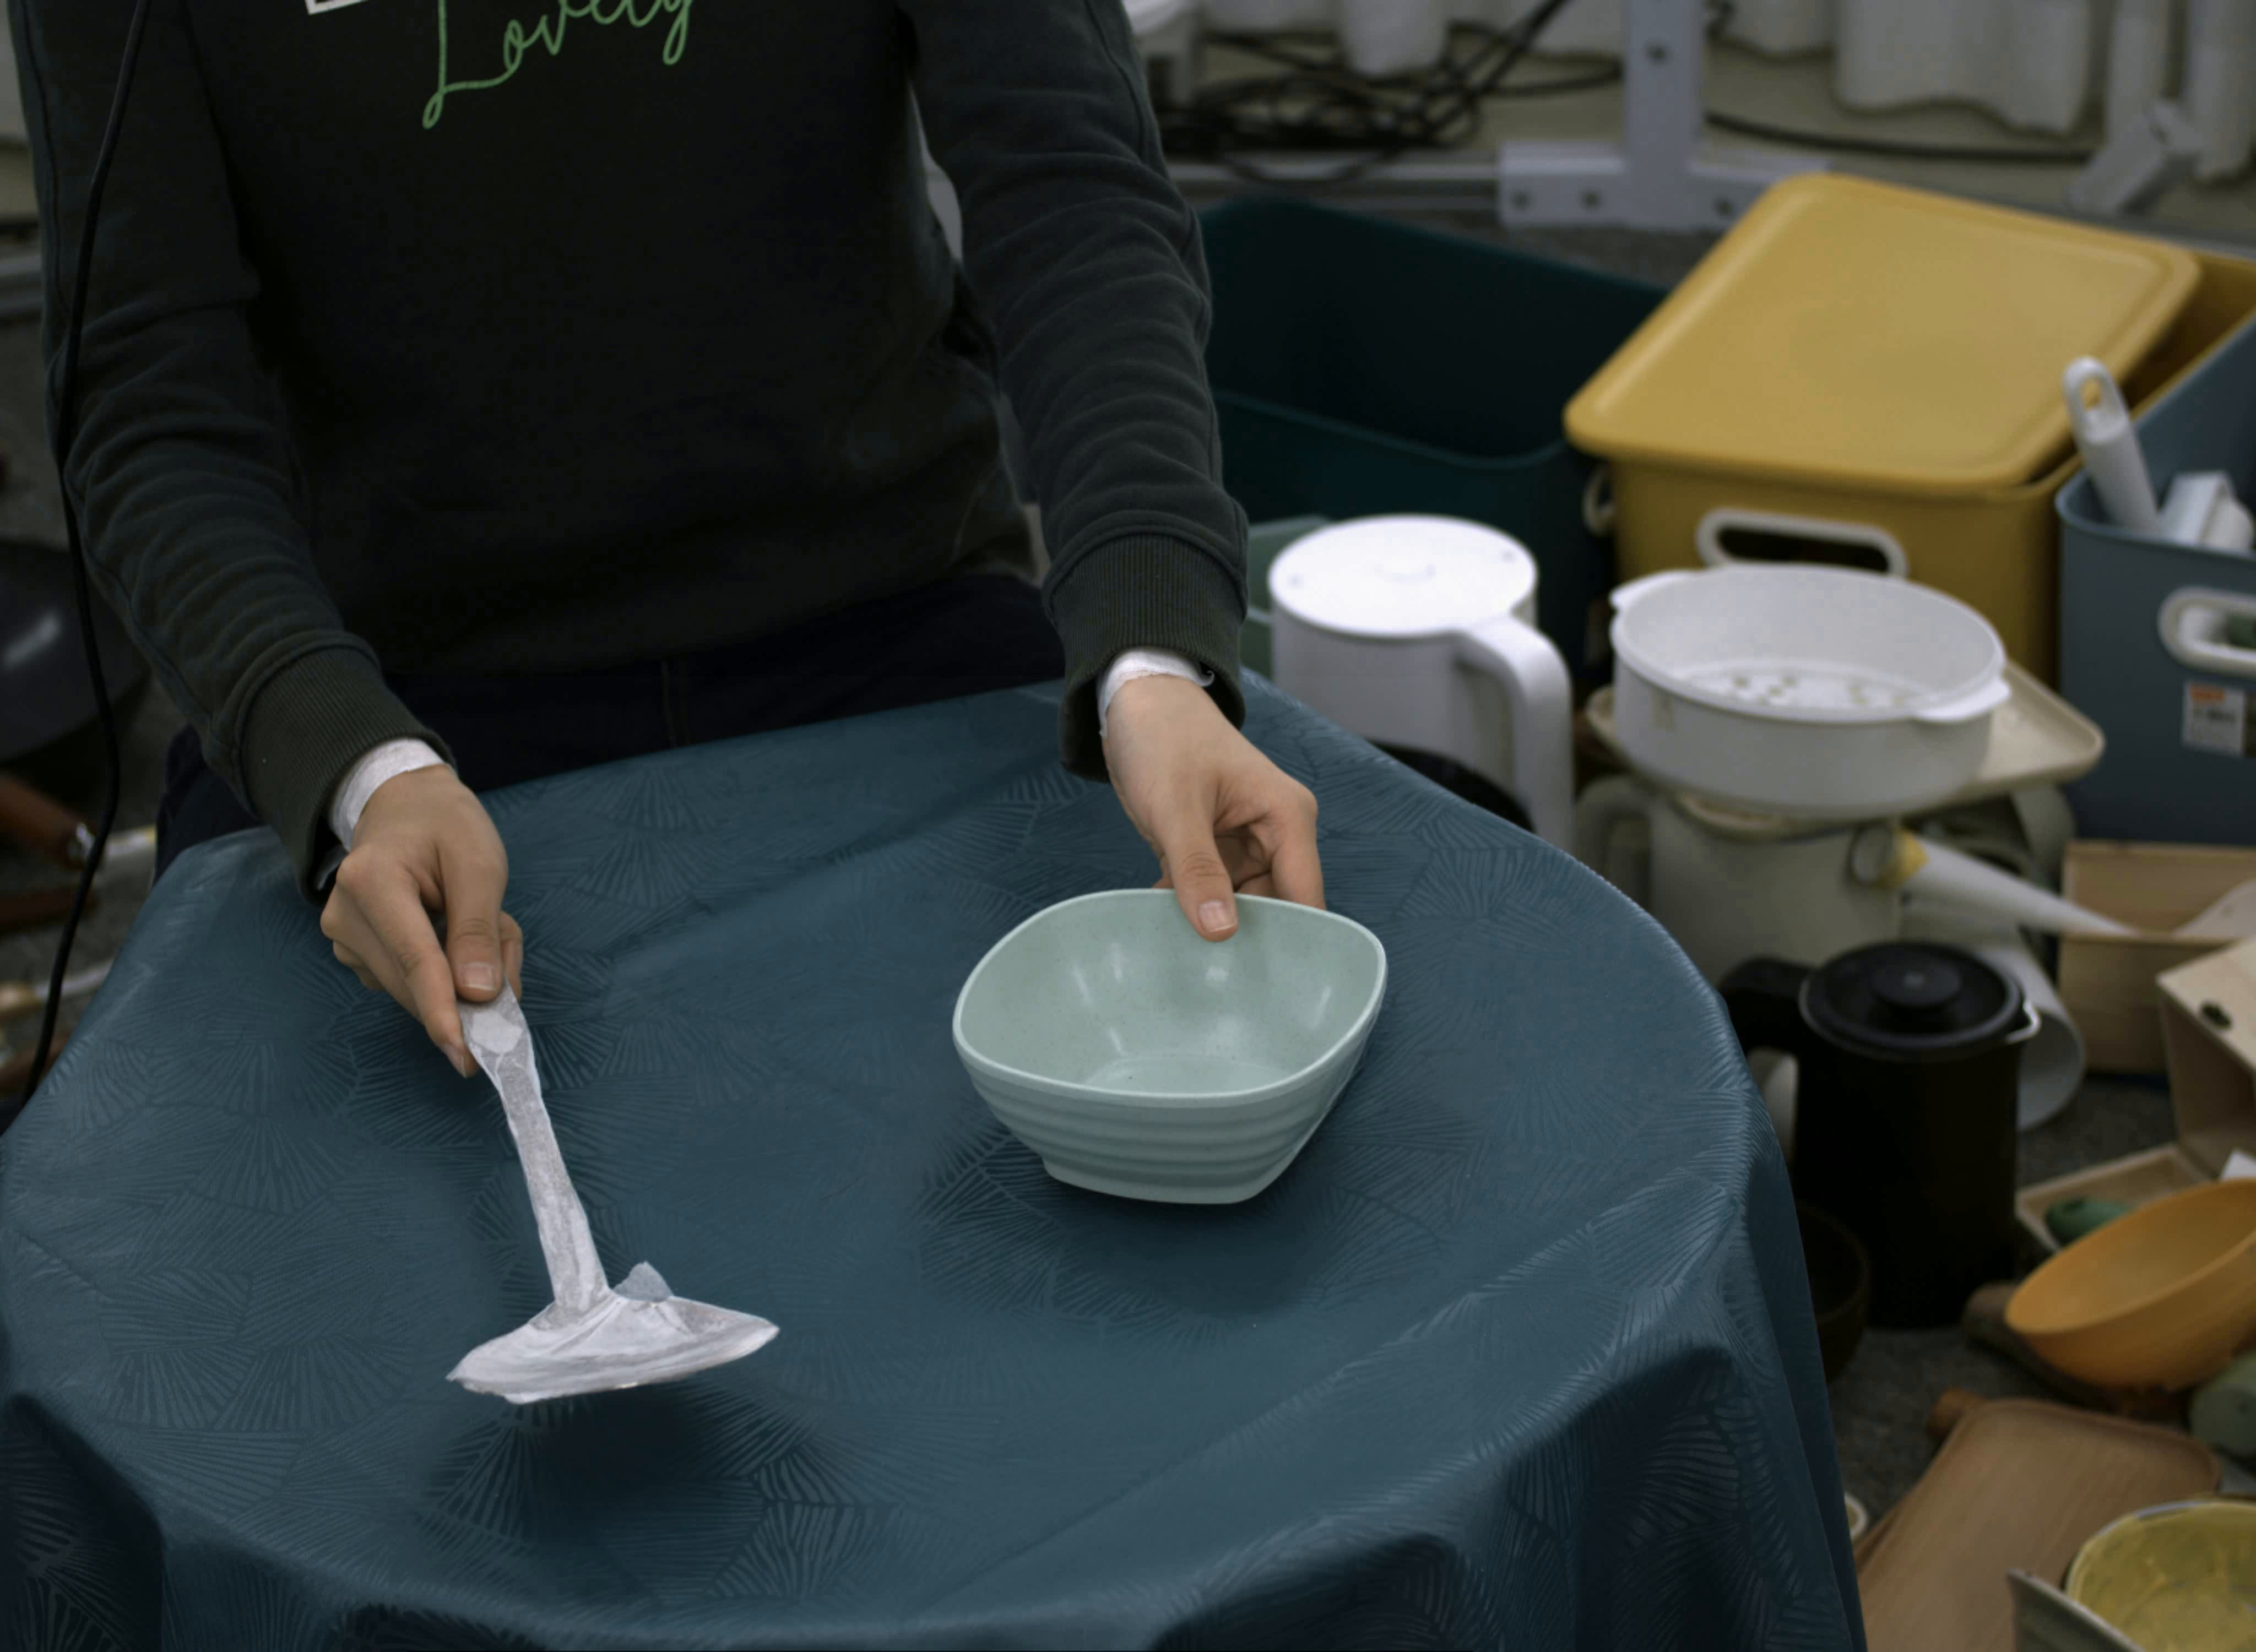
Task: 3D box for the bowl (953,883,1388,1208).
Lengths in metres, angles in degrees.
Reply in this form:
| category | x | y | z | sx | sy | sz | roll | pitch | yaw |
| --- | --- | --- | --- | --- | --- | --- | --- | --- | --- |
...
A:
| category | x | y | z | sx | sy | sz | roll | pitch | yaw |
| --- | --- | --- | --- | --- | --- | --- | --- | --- | --- |
| bowl | 0.015 | 0.079 | 1.869 | 0.151 | 0.058 | 0.154 | -1 | 28 | 1 |

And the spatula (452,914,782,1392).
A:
| category | x | y | z | sx | sy | sz | roll | pitch | yaw |
| --- | --- | --- | --- | --- | --- | --- | --- | --- | --- |
| spatula | -0.190 | 0.099 | 1.834 | 0.098 | 0.044 | 0.369 | -10 | 29 | -11 |
